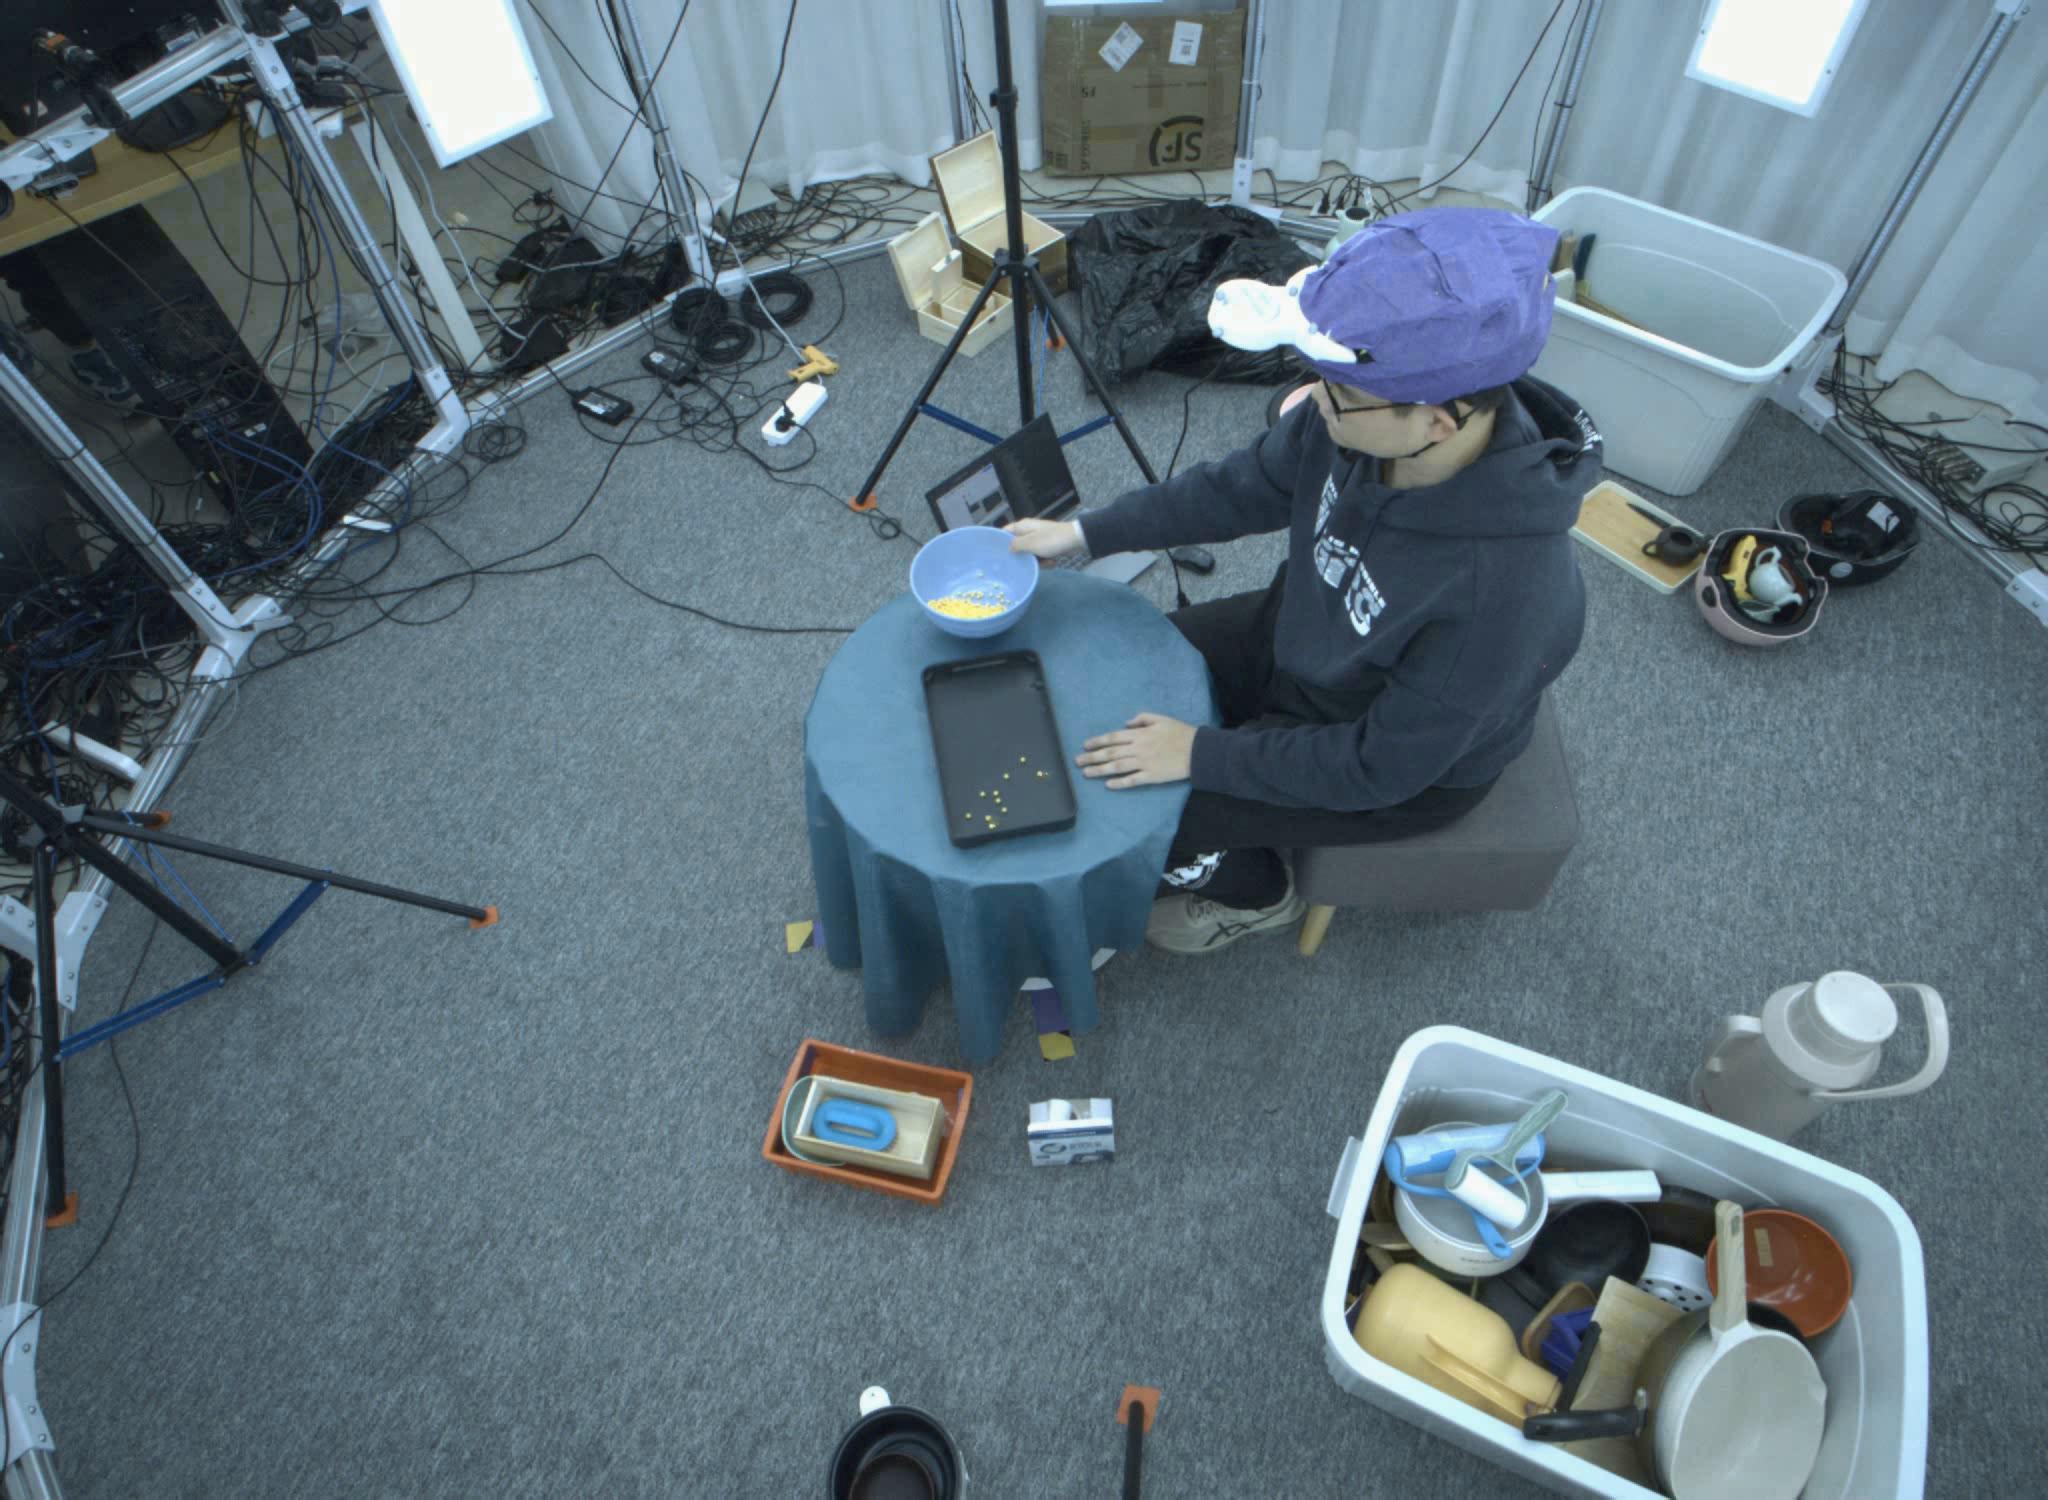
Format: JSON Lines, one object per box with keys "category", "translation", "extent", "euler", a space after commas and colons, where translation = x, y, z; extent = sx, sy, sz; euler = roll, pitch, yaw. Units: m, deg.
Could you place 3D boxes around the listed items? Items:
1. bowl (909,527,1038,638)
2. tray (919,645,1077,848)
{"category": "bowl", "translation": [-0.075, -0.244, 1.892], "extent": [0.196, 0.096, 0.194], "euler": [0, 55, 1]}
{"category": "tray", "translation": [-0.041, -0.011, 1.773], "extent": [0.185, 0.037, 0.313], "euler": [-9, 55, -5]}
